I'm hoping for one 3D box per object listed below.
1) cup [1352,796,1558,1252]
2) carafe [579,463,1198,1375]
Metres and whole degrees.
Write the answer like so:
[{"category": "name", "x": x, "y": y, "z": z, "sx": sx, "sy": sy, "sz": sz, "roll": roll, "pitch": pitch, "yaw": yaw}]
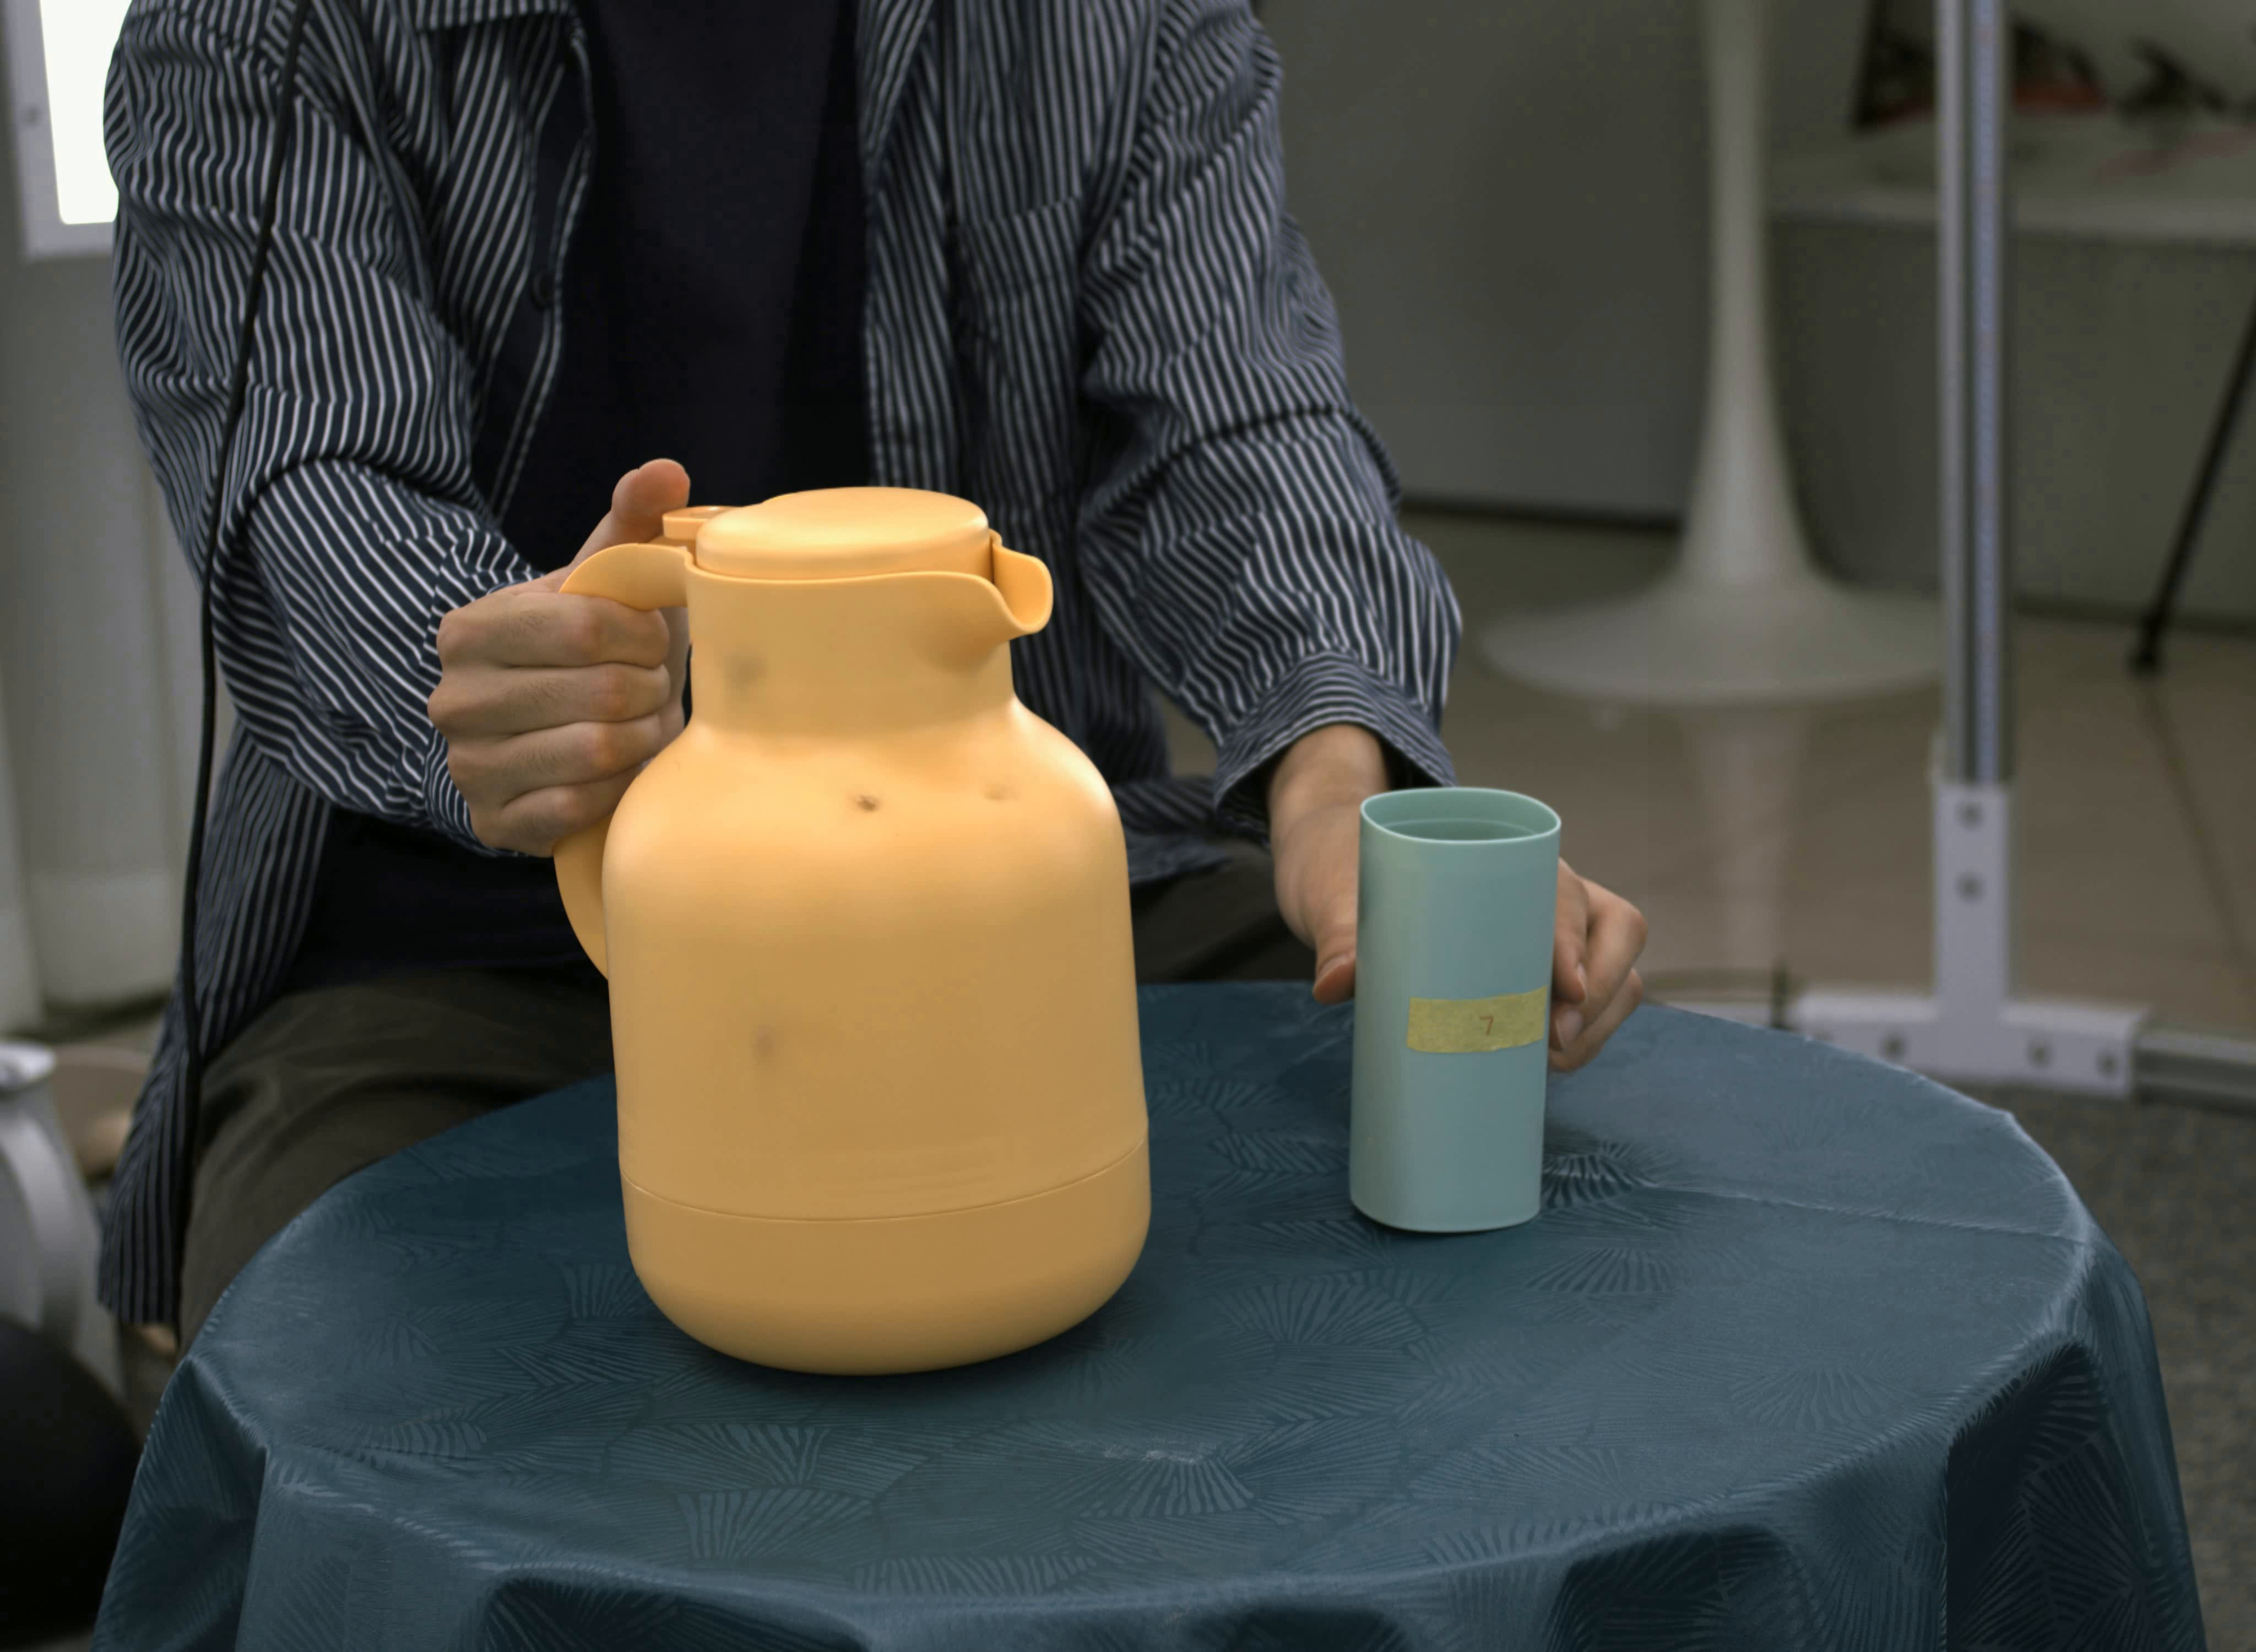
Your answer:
[{"category": "cup", "x": 0.103, "y": 0.062, "z": 1.712, "sx": 0.066, "sy": 0.134, "sz": 0.067, "roll": 0, "pitch": 15, "yaw": -1}, {"category": "carafe", "x": -0.078, "y": 0.022, "z": 1.645, "sx": 0.204, "sy": 0.263, "sz": 0.160, "roll": 6, "pitch": 15, "yaw": 37}]
